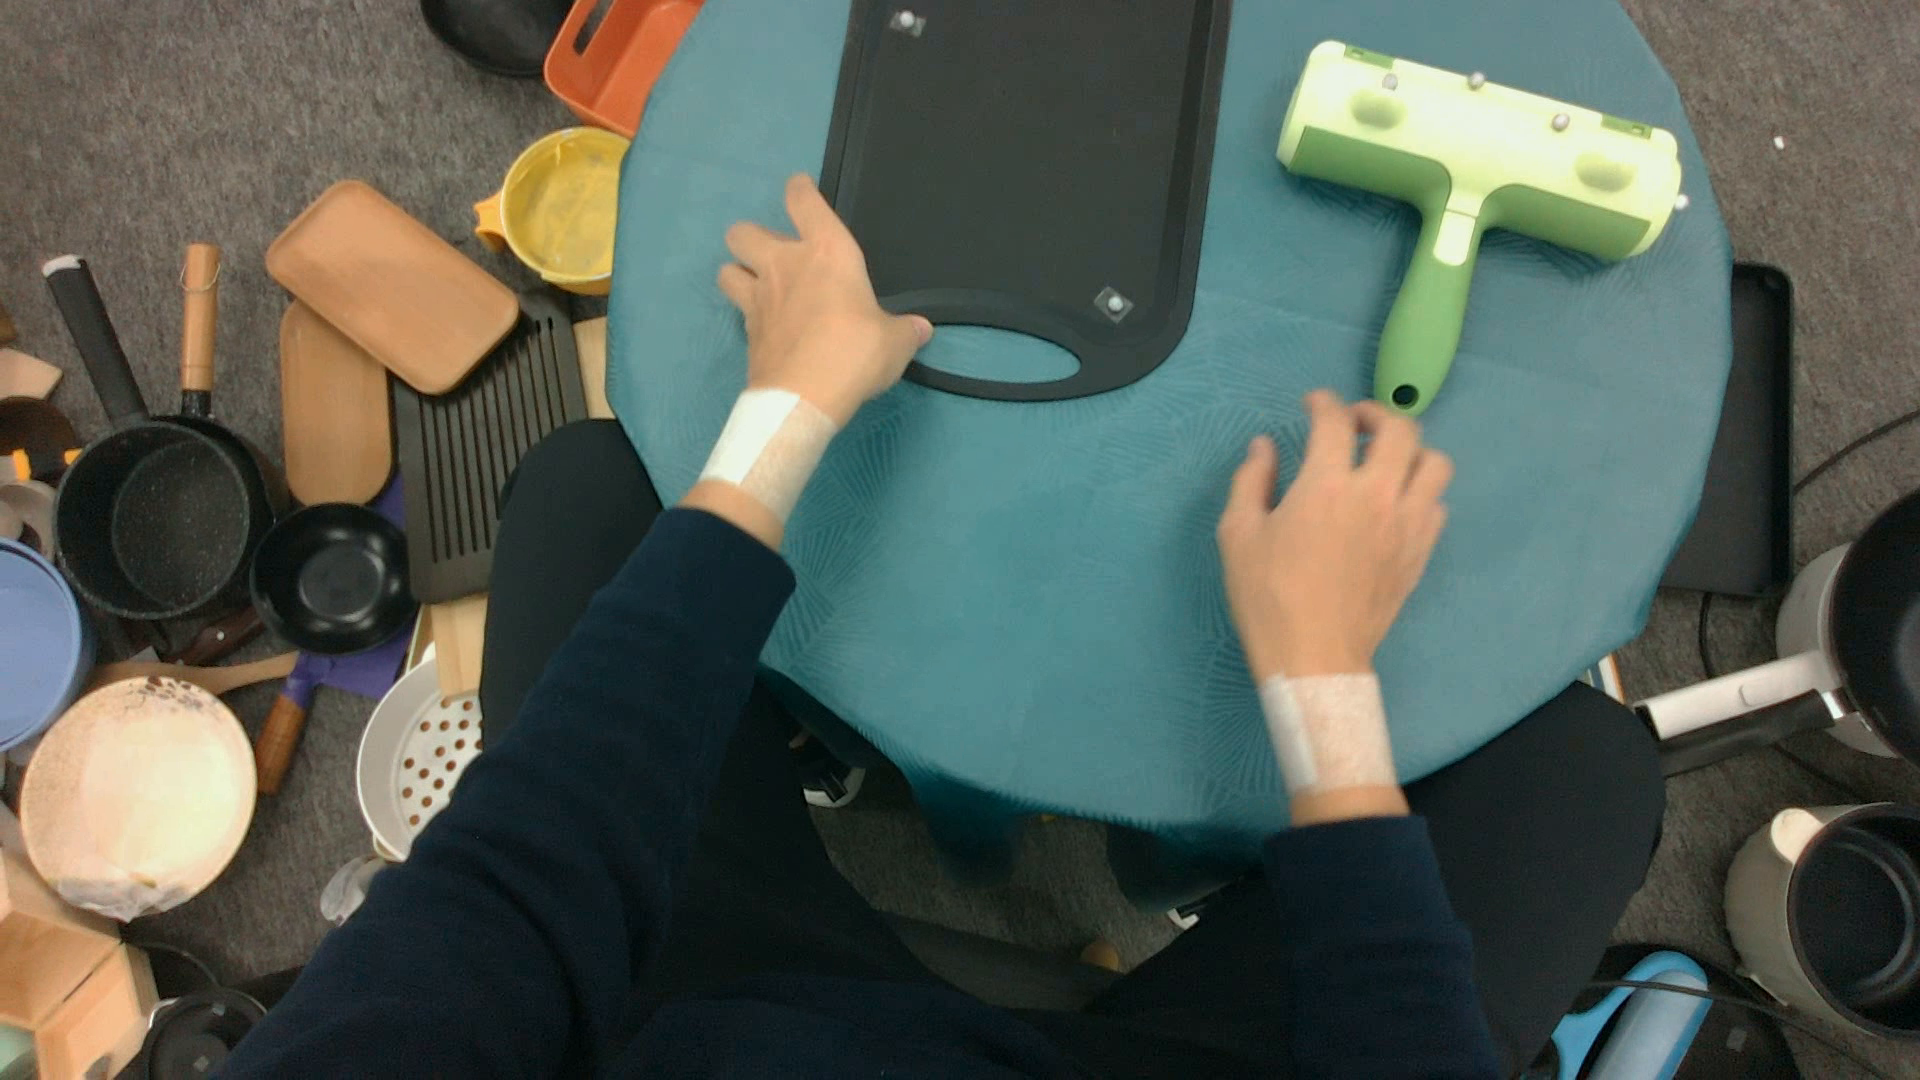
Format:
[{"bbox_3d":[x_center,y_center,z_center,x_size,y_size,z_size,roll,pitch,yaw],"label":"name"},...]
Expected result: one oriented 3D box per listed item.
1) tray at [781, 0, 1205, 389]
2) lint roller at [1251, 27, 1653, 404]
[{"bbox_3d":[0.022,-0.239,0.753,0.211,0.010,0.326,8,79,2],"label":"tray"},{"bbox_3d":[0.240,-0.163,0.697,0.198,0.082,0.184,15,73,4],"label":"lint roller"}]
